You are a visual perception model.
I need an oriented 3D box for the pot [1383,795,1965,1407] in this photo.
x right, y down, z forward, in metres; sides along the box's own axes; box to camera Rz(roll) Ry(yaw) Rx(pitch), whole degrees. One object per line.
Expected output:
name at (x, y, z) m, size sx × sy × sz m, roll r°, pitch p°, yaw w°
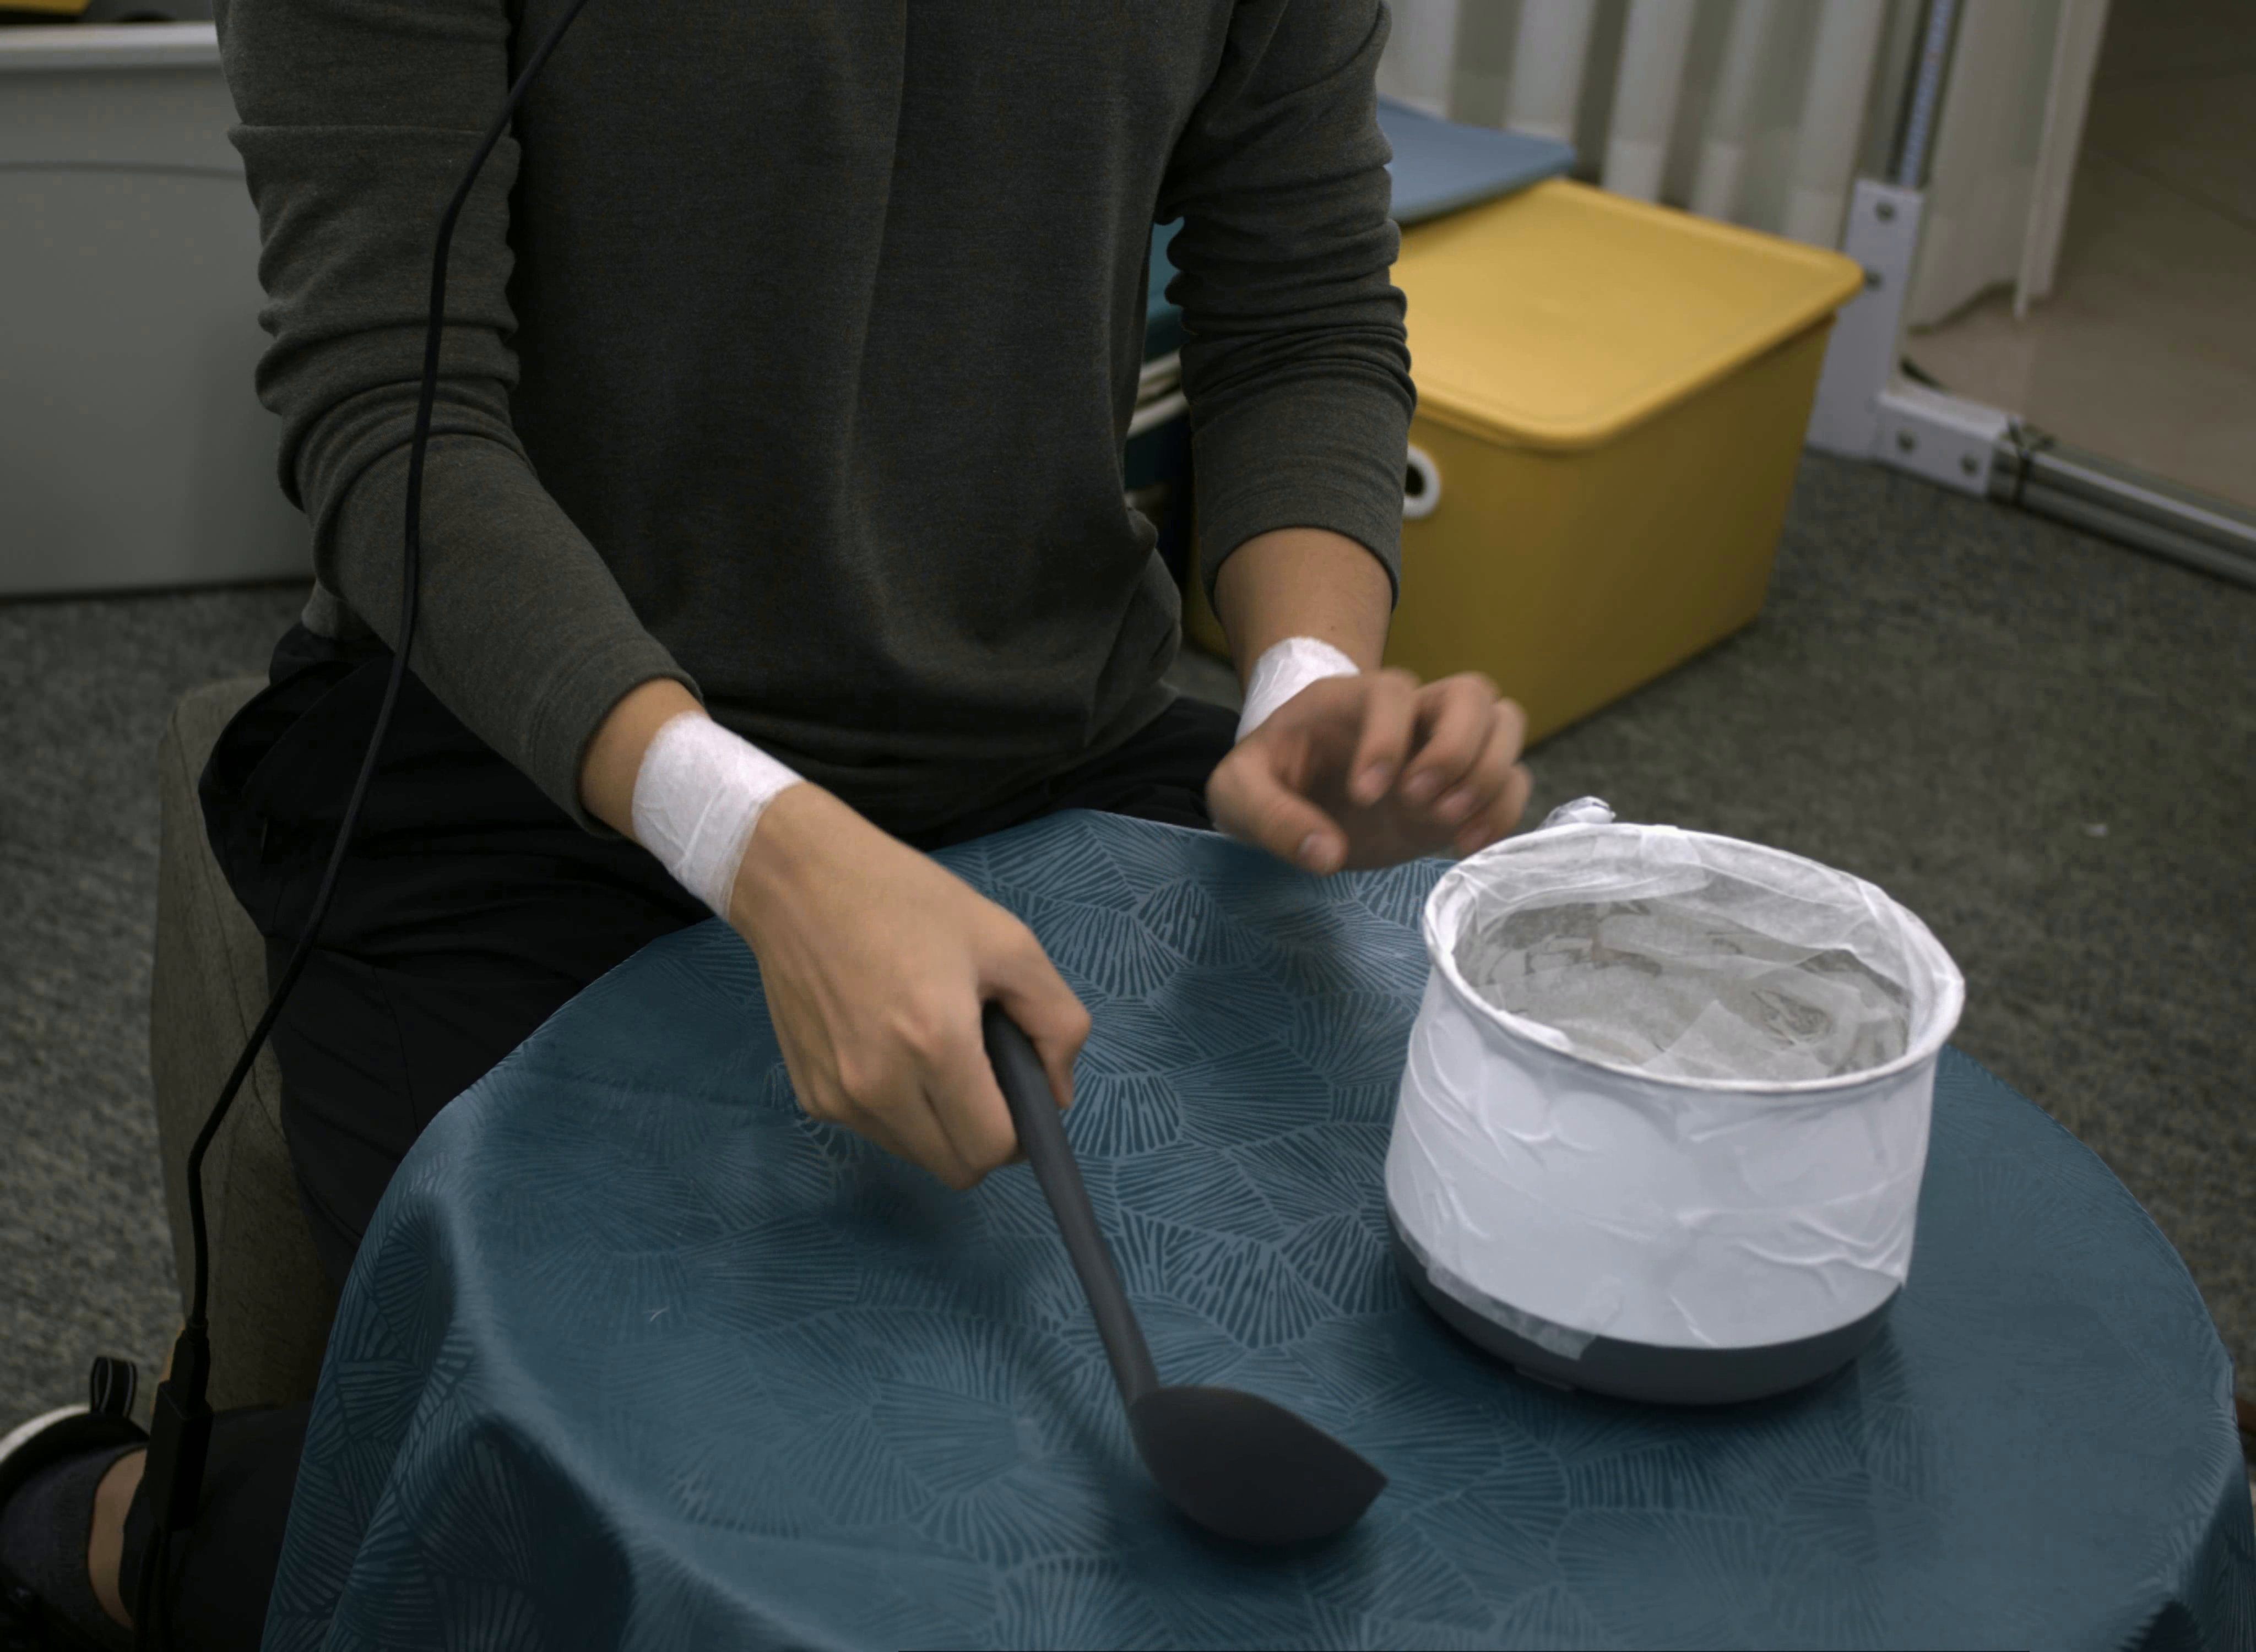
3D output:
pot at (0.168, 0.084, 1.772) m, size 0.177 × 0.136 × 0.236 m, roll -2°, pitch 28°, yaw -17°

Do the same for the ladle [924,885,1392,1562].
ladle at (-0.001, 0.111, 1.698) m, size 0.064 × 0.085 × 0.317 m, roll -35°, pitch 44°, yaw 10°
